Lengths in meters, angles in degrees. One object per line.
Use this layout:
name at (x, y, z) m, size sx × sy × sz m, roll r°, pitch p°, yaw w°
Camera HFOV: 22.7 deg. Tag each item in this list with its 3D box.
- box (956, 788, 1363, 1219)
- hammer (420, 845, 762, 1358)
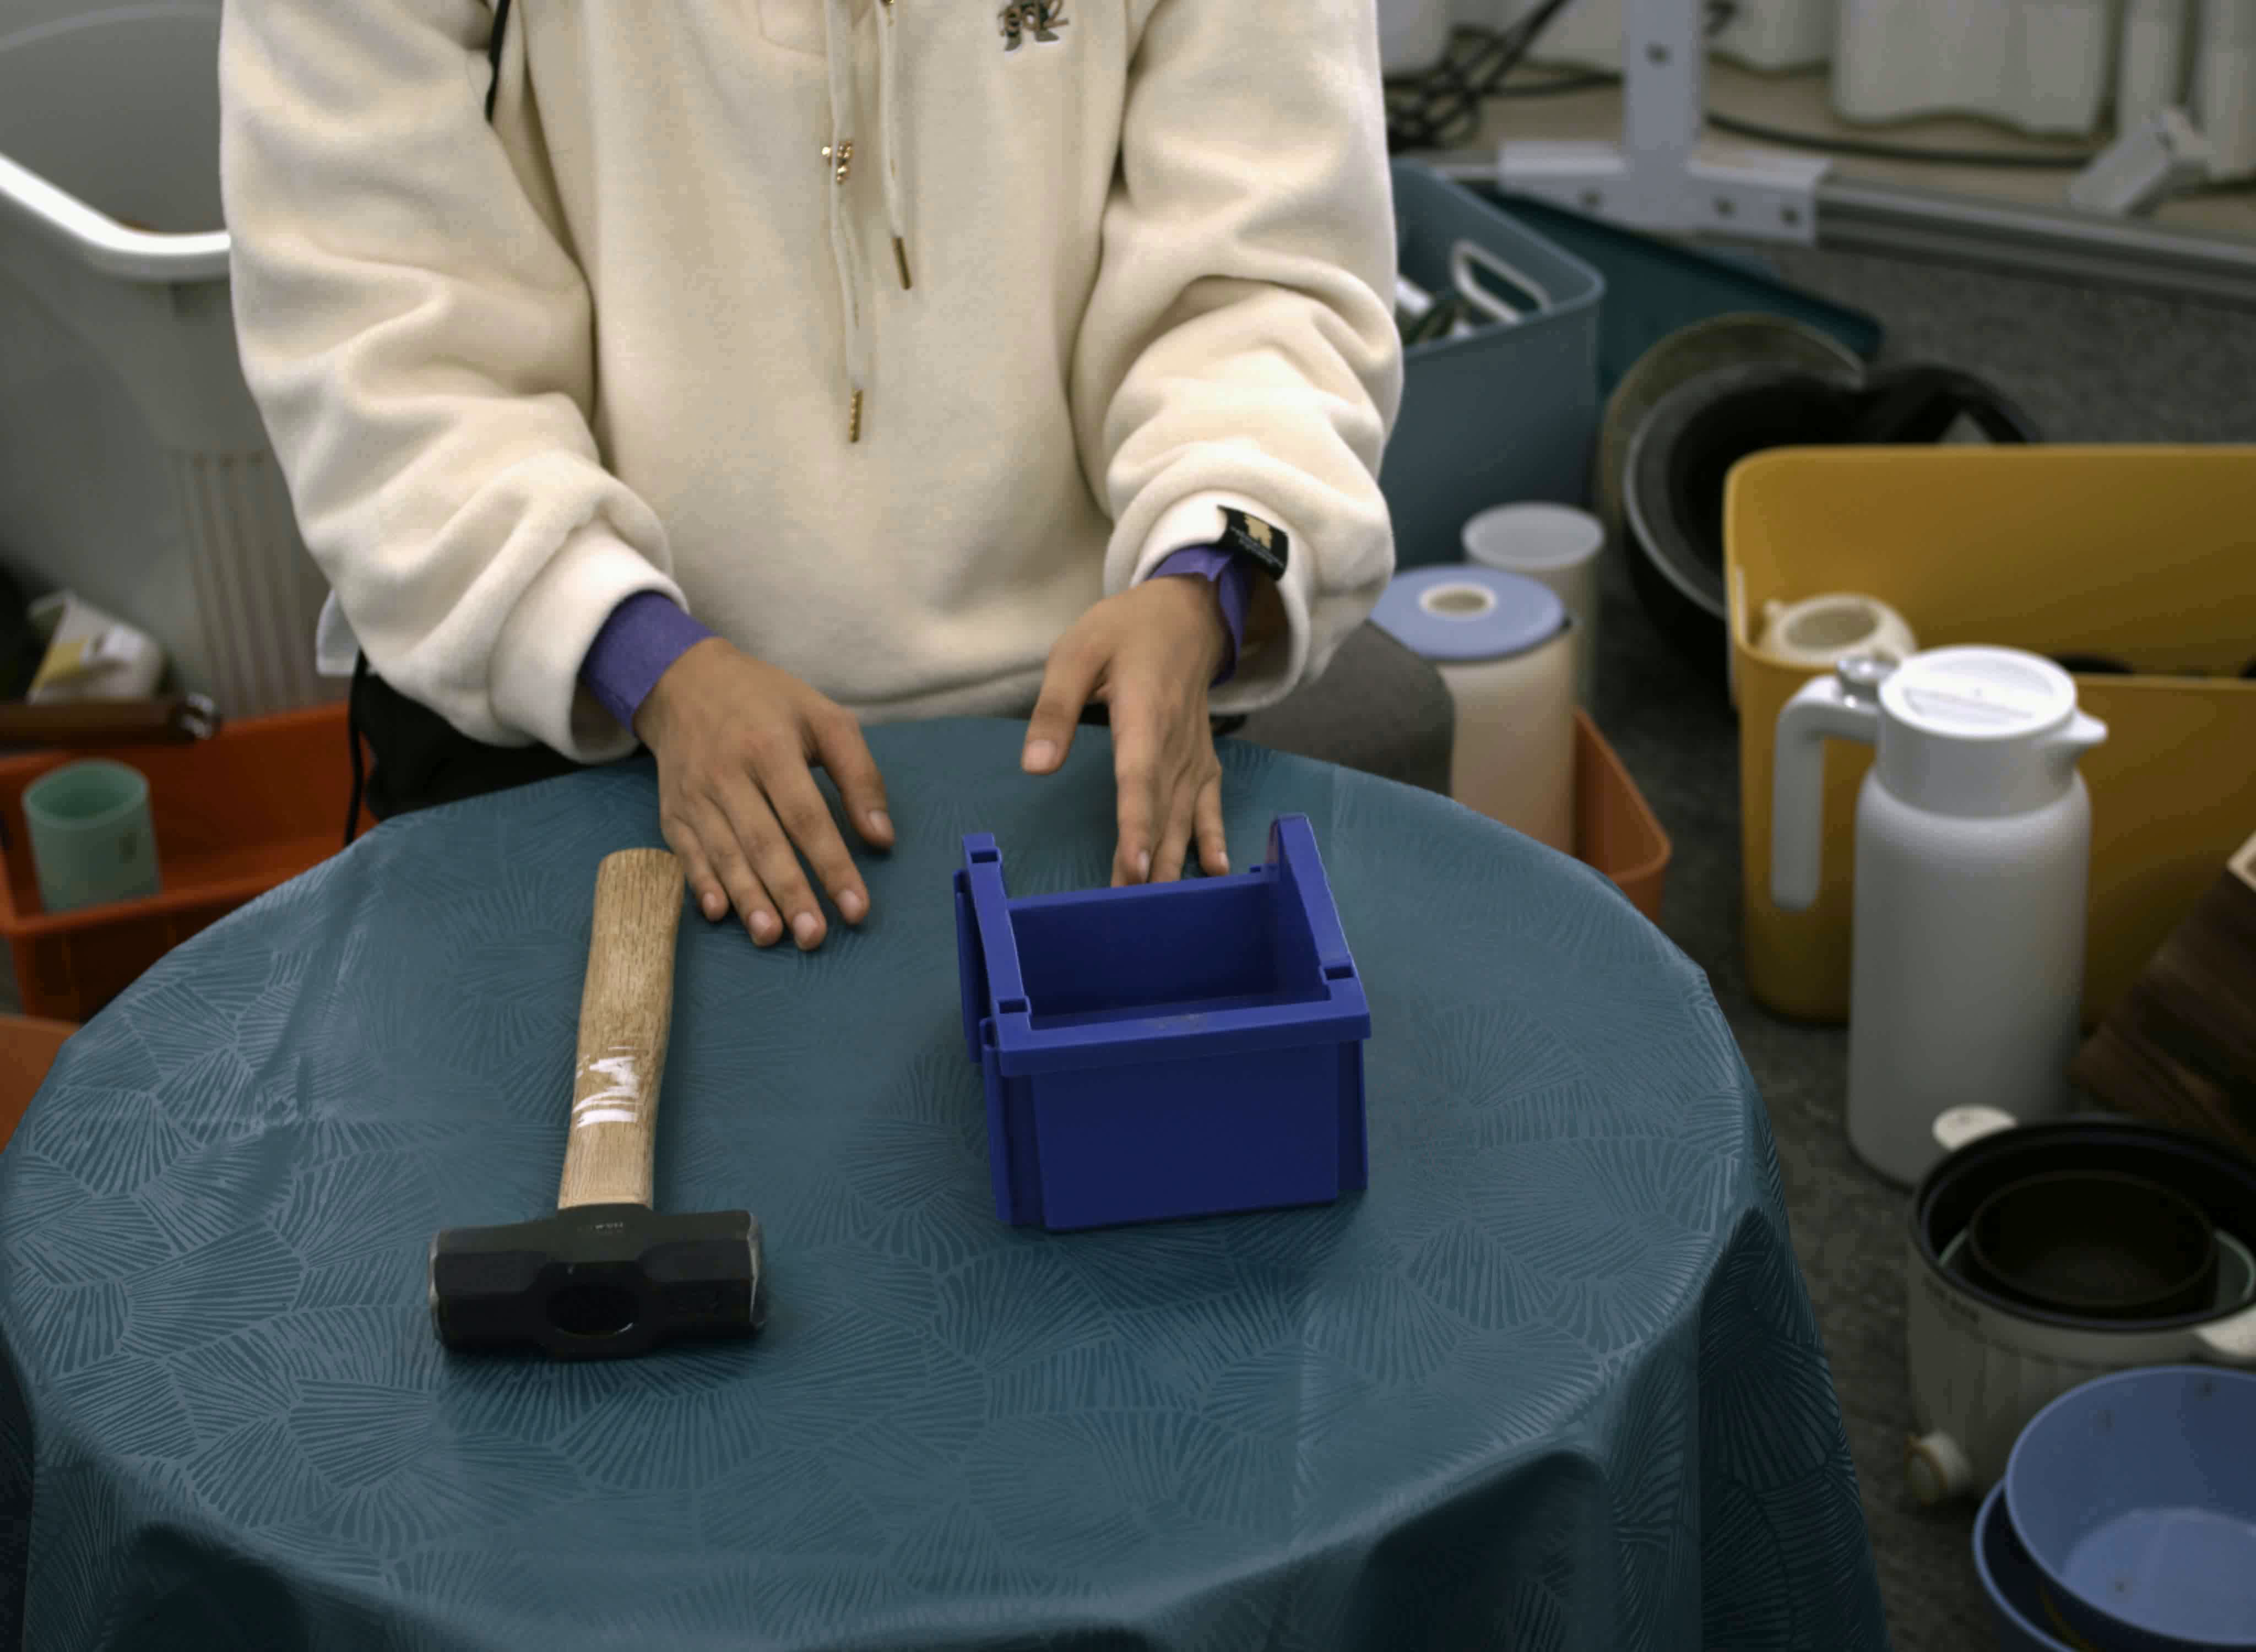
box at (0.007, 0.055, 1.903) m, size 0.124 × 0.081 × 0.182 m, roll -5°, pitch 30°, yaw -4°
hammer at (-0.170, 0.086, 1.912) m, size 0.107 × 0.038 × 0.310 m, roll -2°, pitch 26°, yaw 2°
